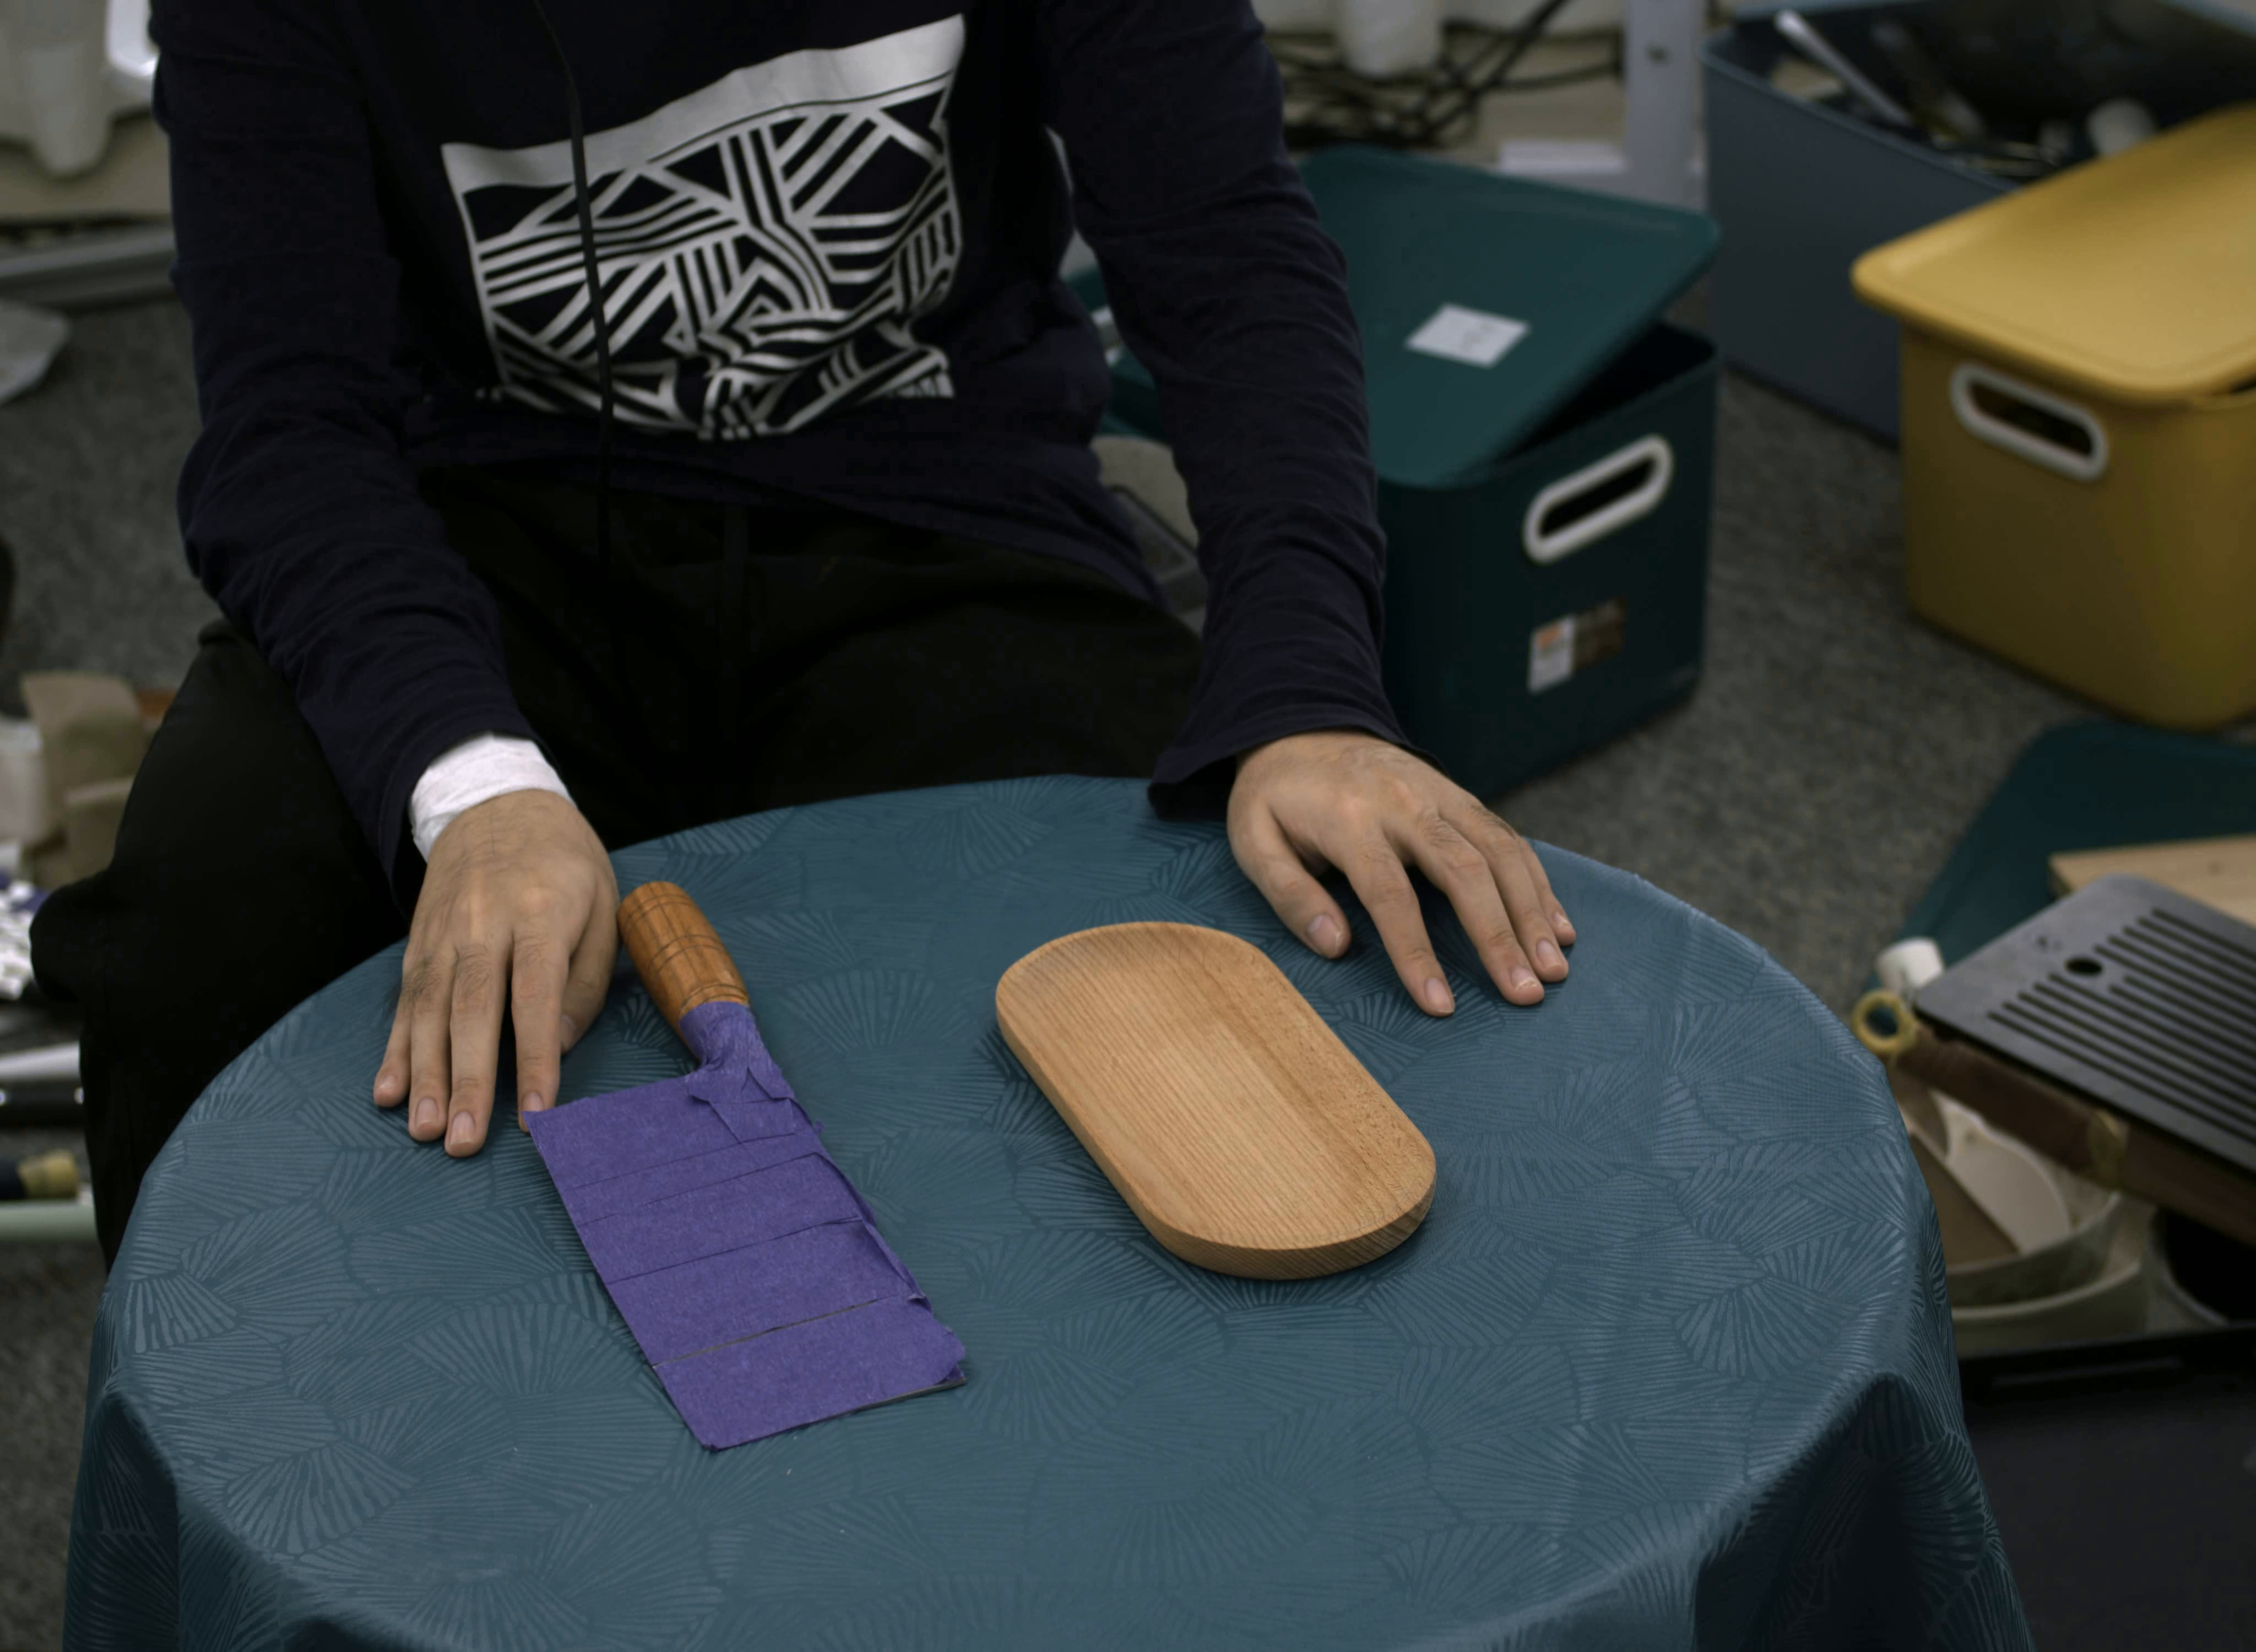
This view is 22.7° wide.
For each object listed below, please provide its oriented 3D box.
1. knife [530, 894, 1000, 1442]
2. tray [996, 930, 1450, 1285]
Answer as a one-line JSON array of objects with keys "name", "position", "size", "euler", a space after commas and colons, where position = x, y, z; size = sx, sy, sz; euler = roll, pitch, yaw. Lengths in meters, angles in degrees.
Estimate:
[{"name": "knife", "position": [-0.144, 0.109, 1.870], "size": [0.104, 0.032, 0.318], "euler": [-12, 29, -18]}, {"name": "tray", "position": [0.030, 0.093, 1.897], "size": [0.102, 0.020, 0.233], "euler": [-13, 30, -19]}]
